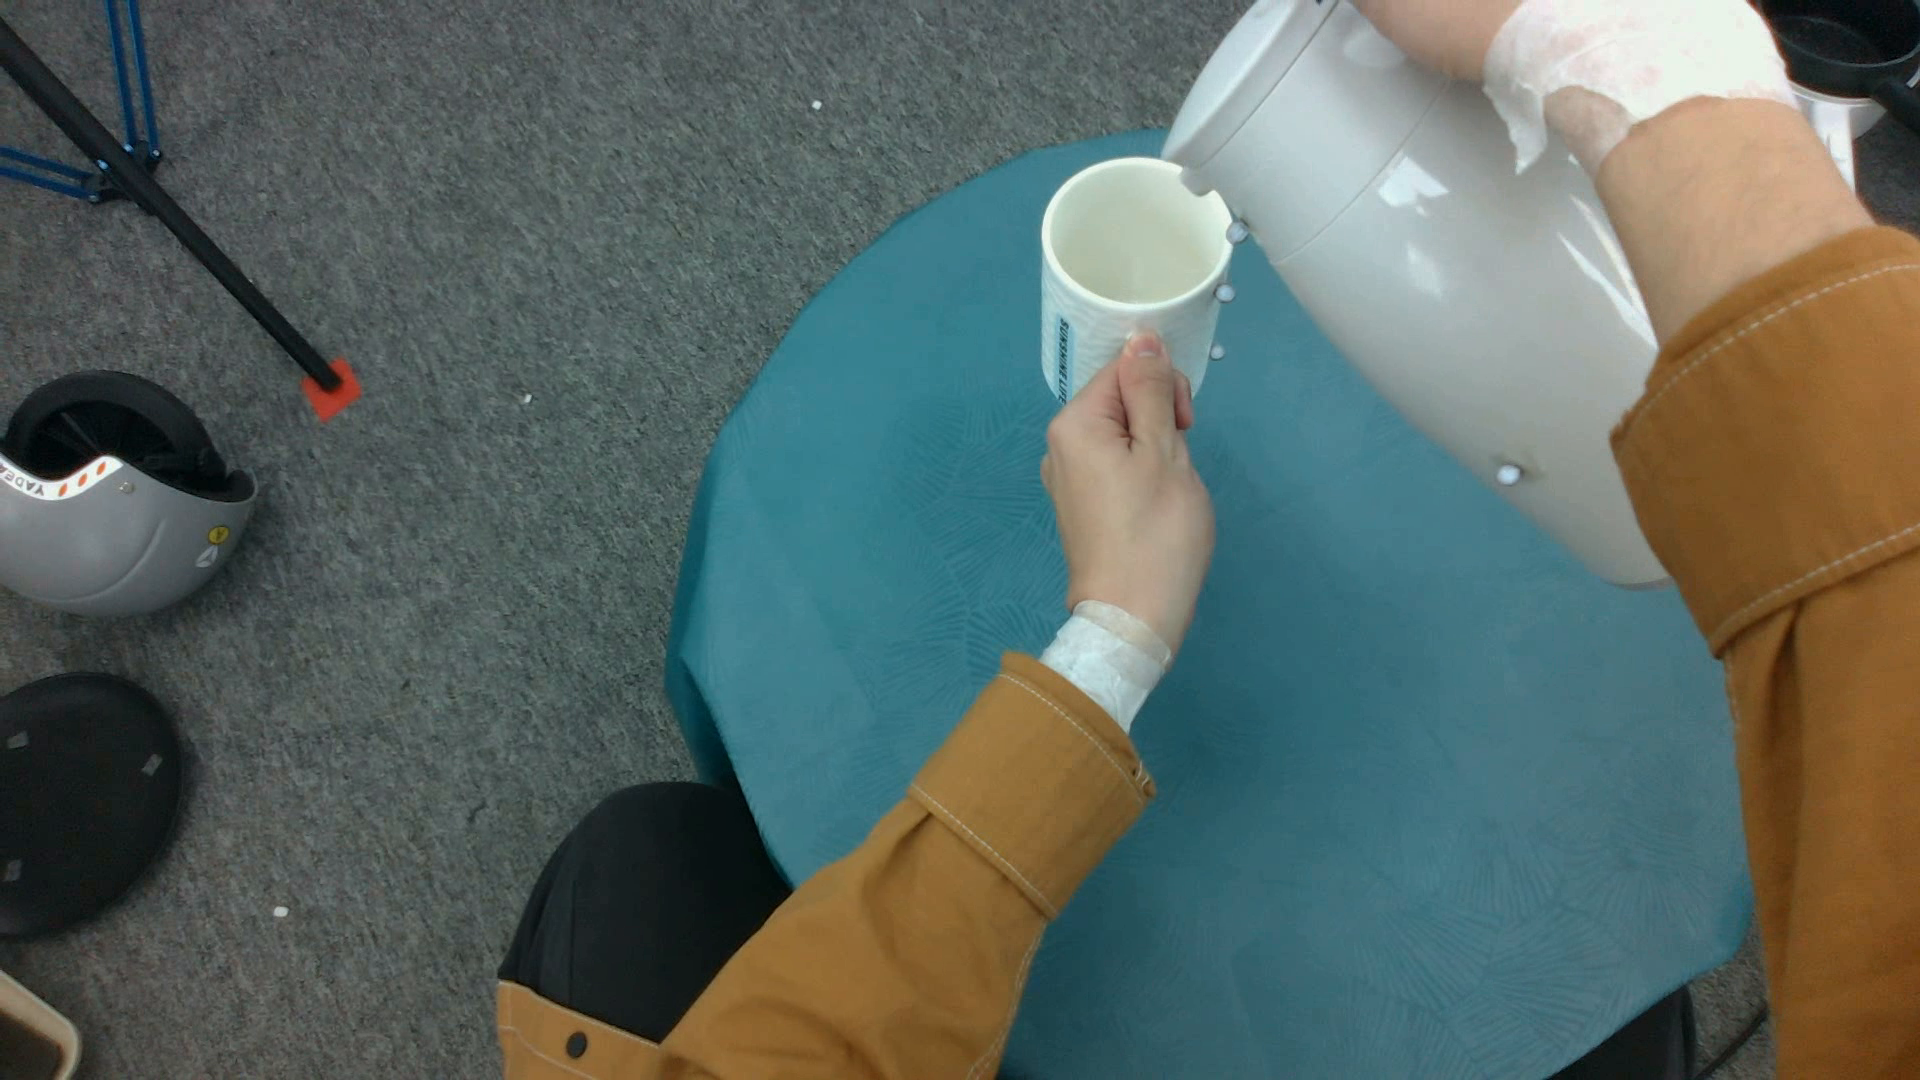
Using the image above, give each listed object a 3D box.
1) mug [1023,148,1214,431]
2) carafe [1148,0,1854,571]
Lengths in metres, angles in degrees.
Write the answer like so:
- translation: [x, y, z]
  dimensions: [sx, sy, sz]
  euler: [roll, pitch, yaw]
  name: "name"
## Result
- translation: [0.074, -0.105, 0.649]
  dimensions: [0.085, 0.101, 0.118]
  euler: [-5, 62, 0]
  name: "mug"
- translation: [0.198, -0.118, 0.501]
  dimensions: [0.248, 0.167, 0.133]
  euler: [37, 63, -11]
  name: "carafe"
